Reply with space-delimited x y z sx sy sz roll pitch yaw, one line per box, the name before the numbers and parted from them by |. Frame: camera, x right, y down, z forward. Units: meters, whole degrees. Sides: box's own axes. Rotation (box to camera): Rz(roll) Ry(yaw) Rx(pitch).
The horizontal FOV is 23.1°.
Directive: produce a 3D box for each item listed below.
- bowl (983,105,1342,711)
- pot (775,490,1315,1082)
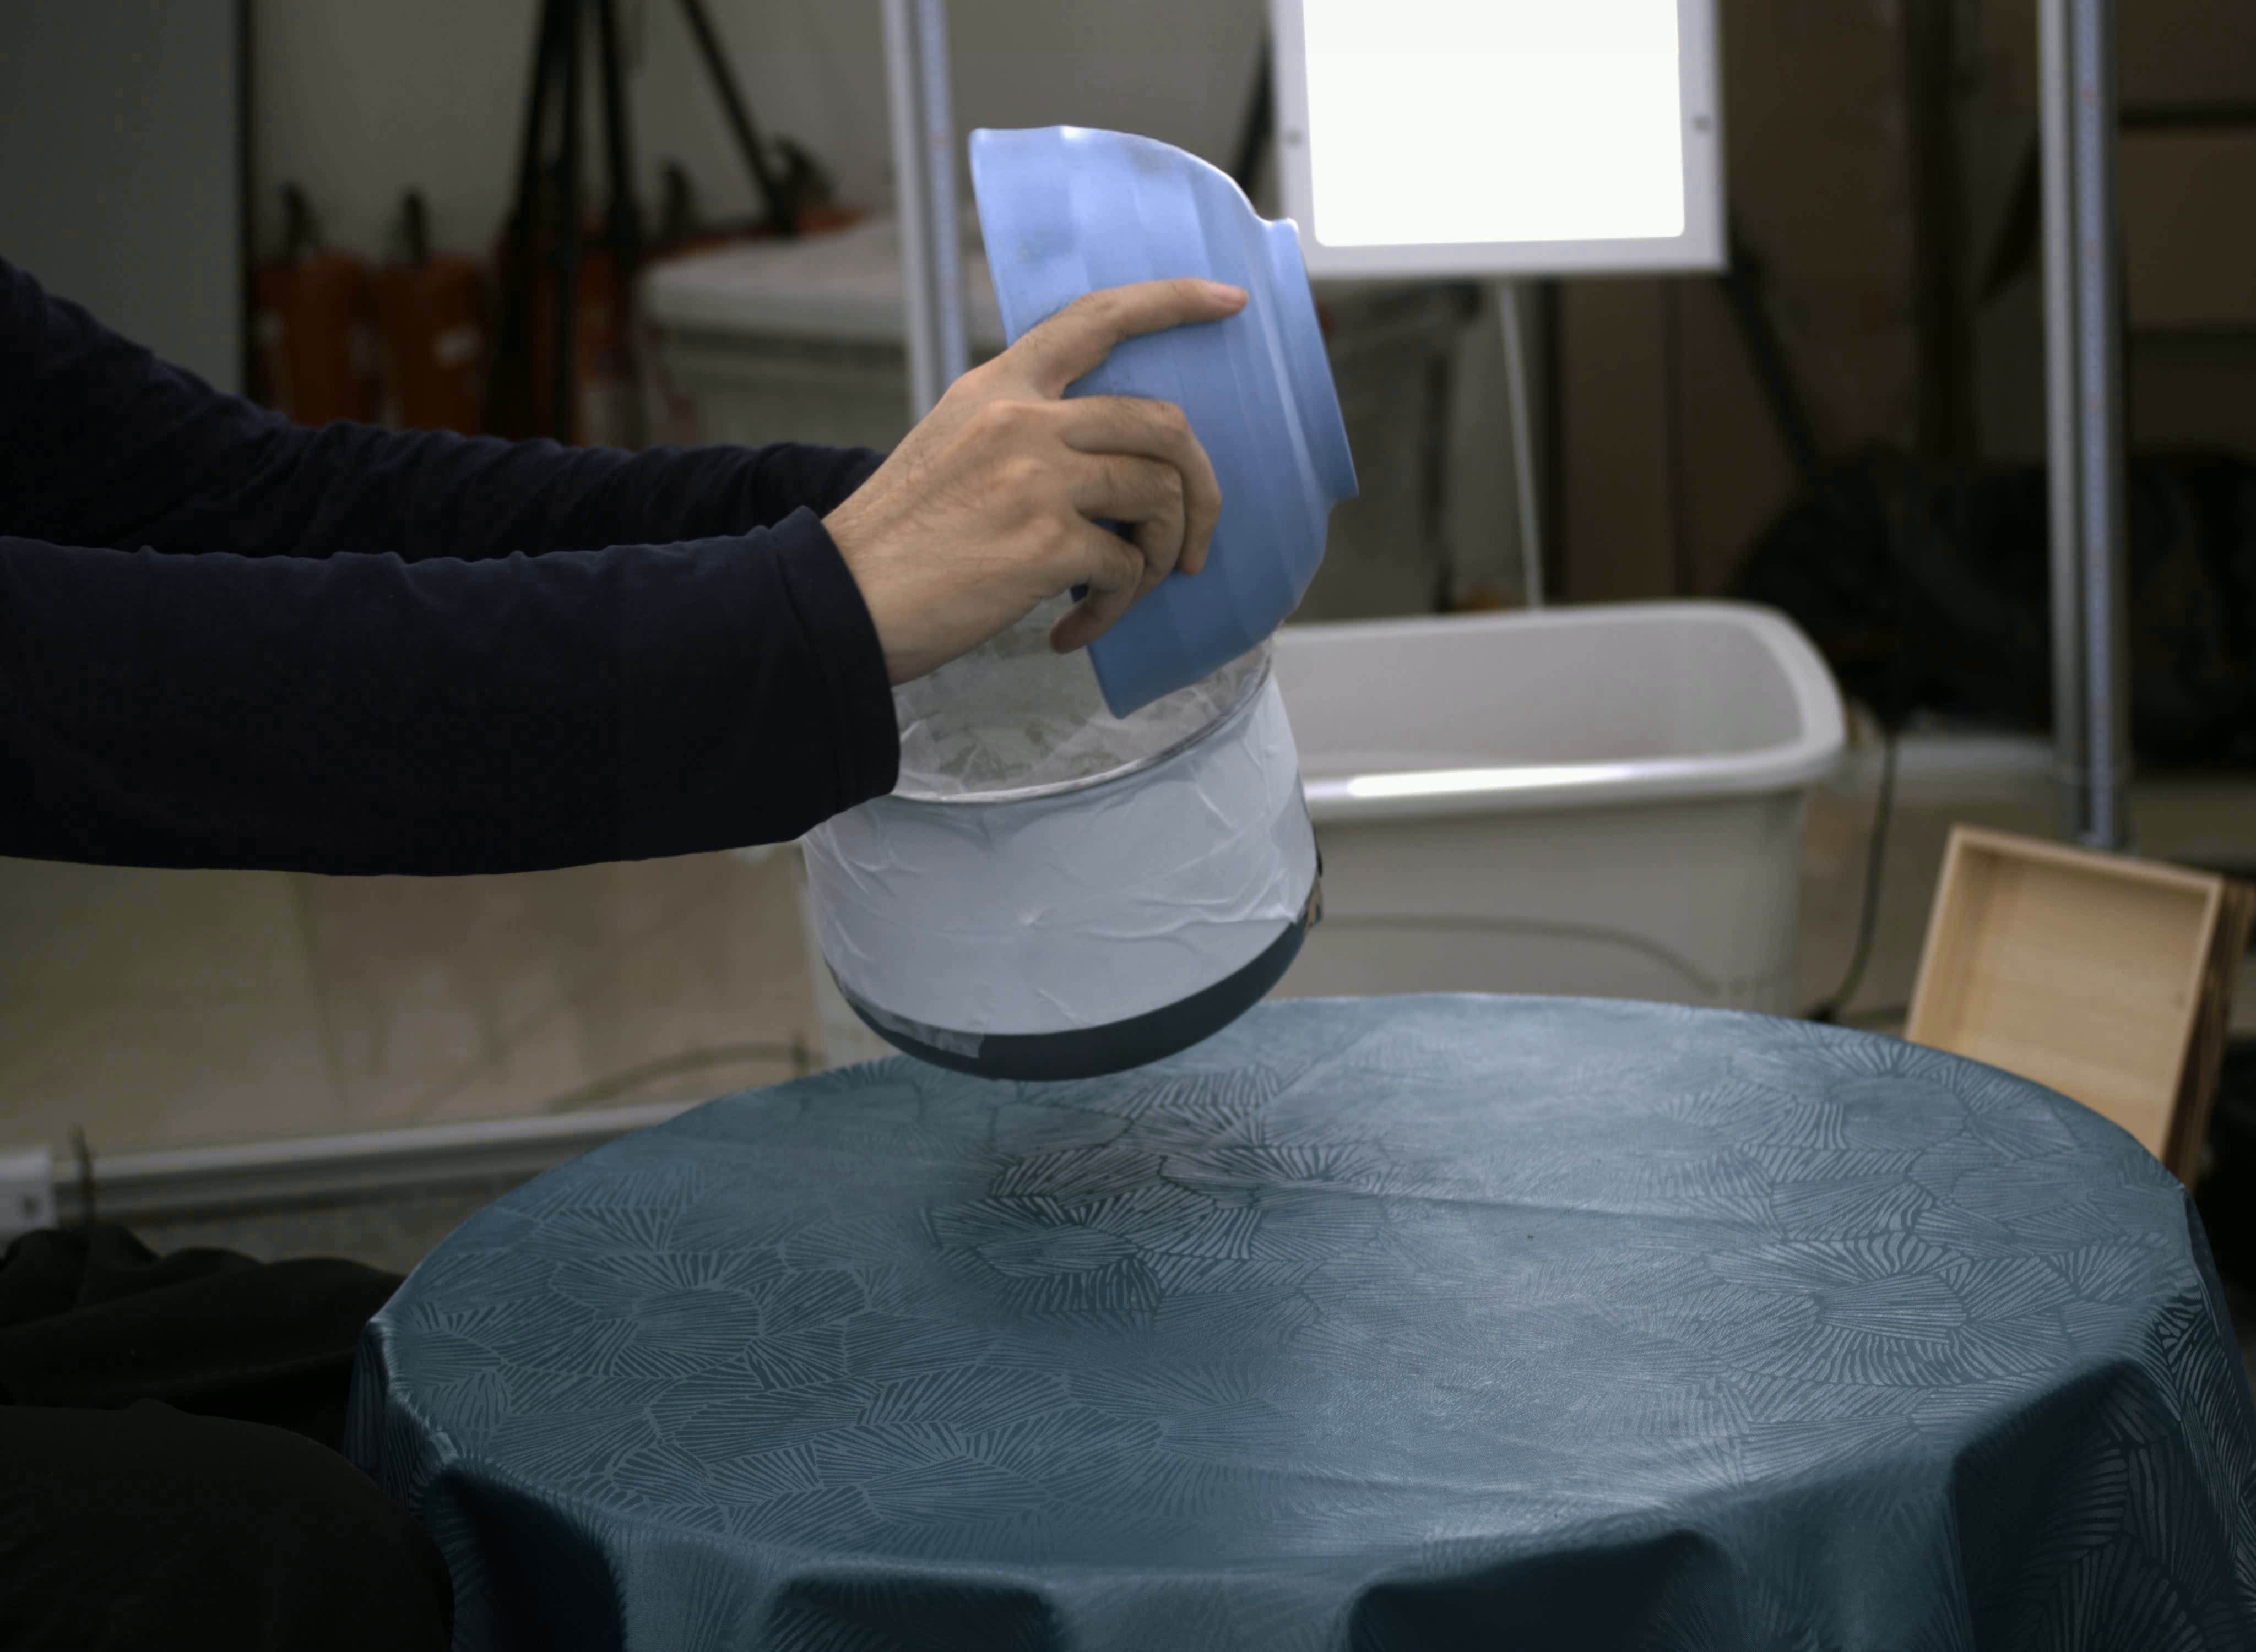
bowl | 0.016 -0.141 1.769 0.095 0.197 0.195 -8 13 4
pot | -0.034 -0.023 1.914 0.177 0.137 0.235 -14 35 -9
